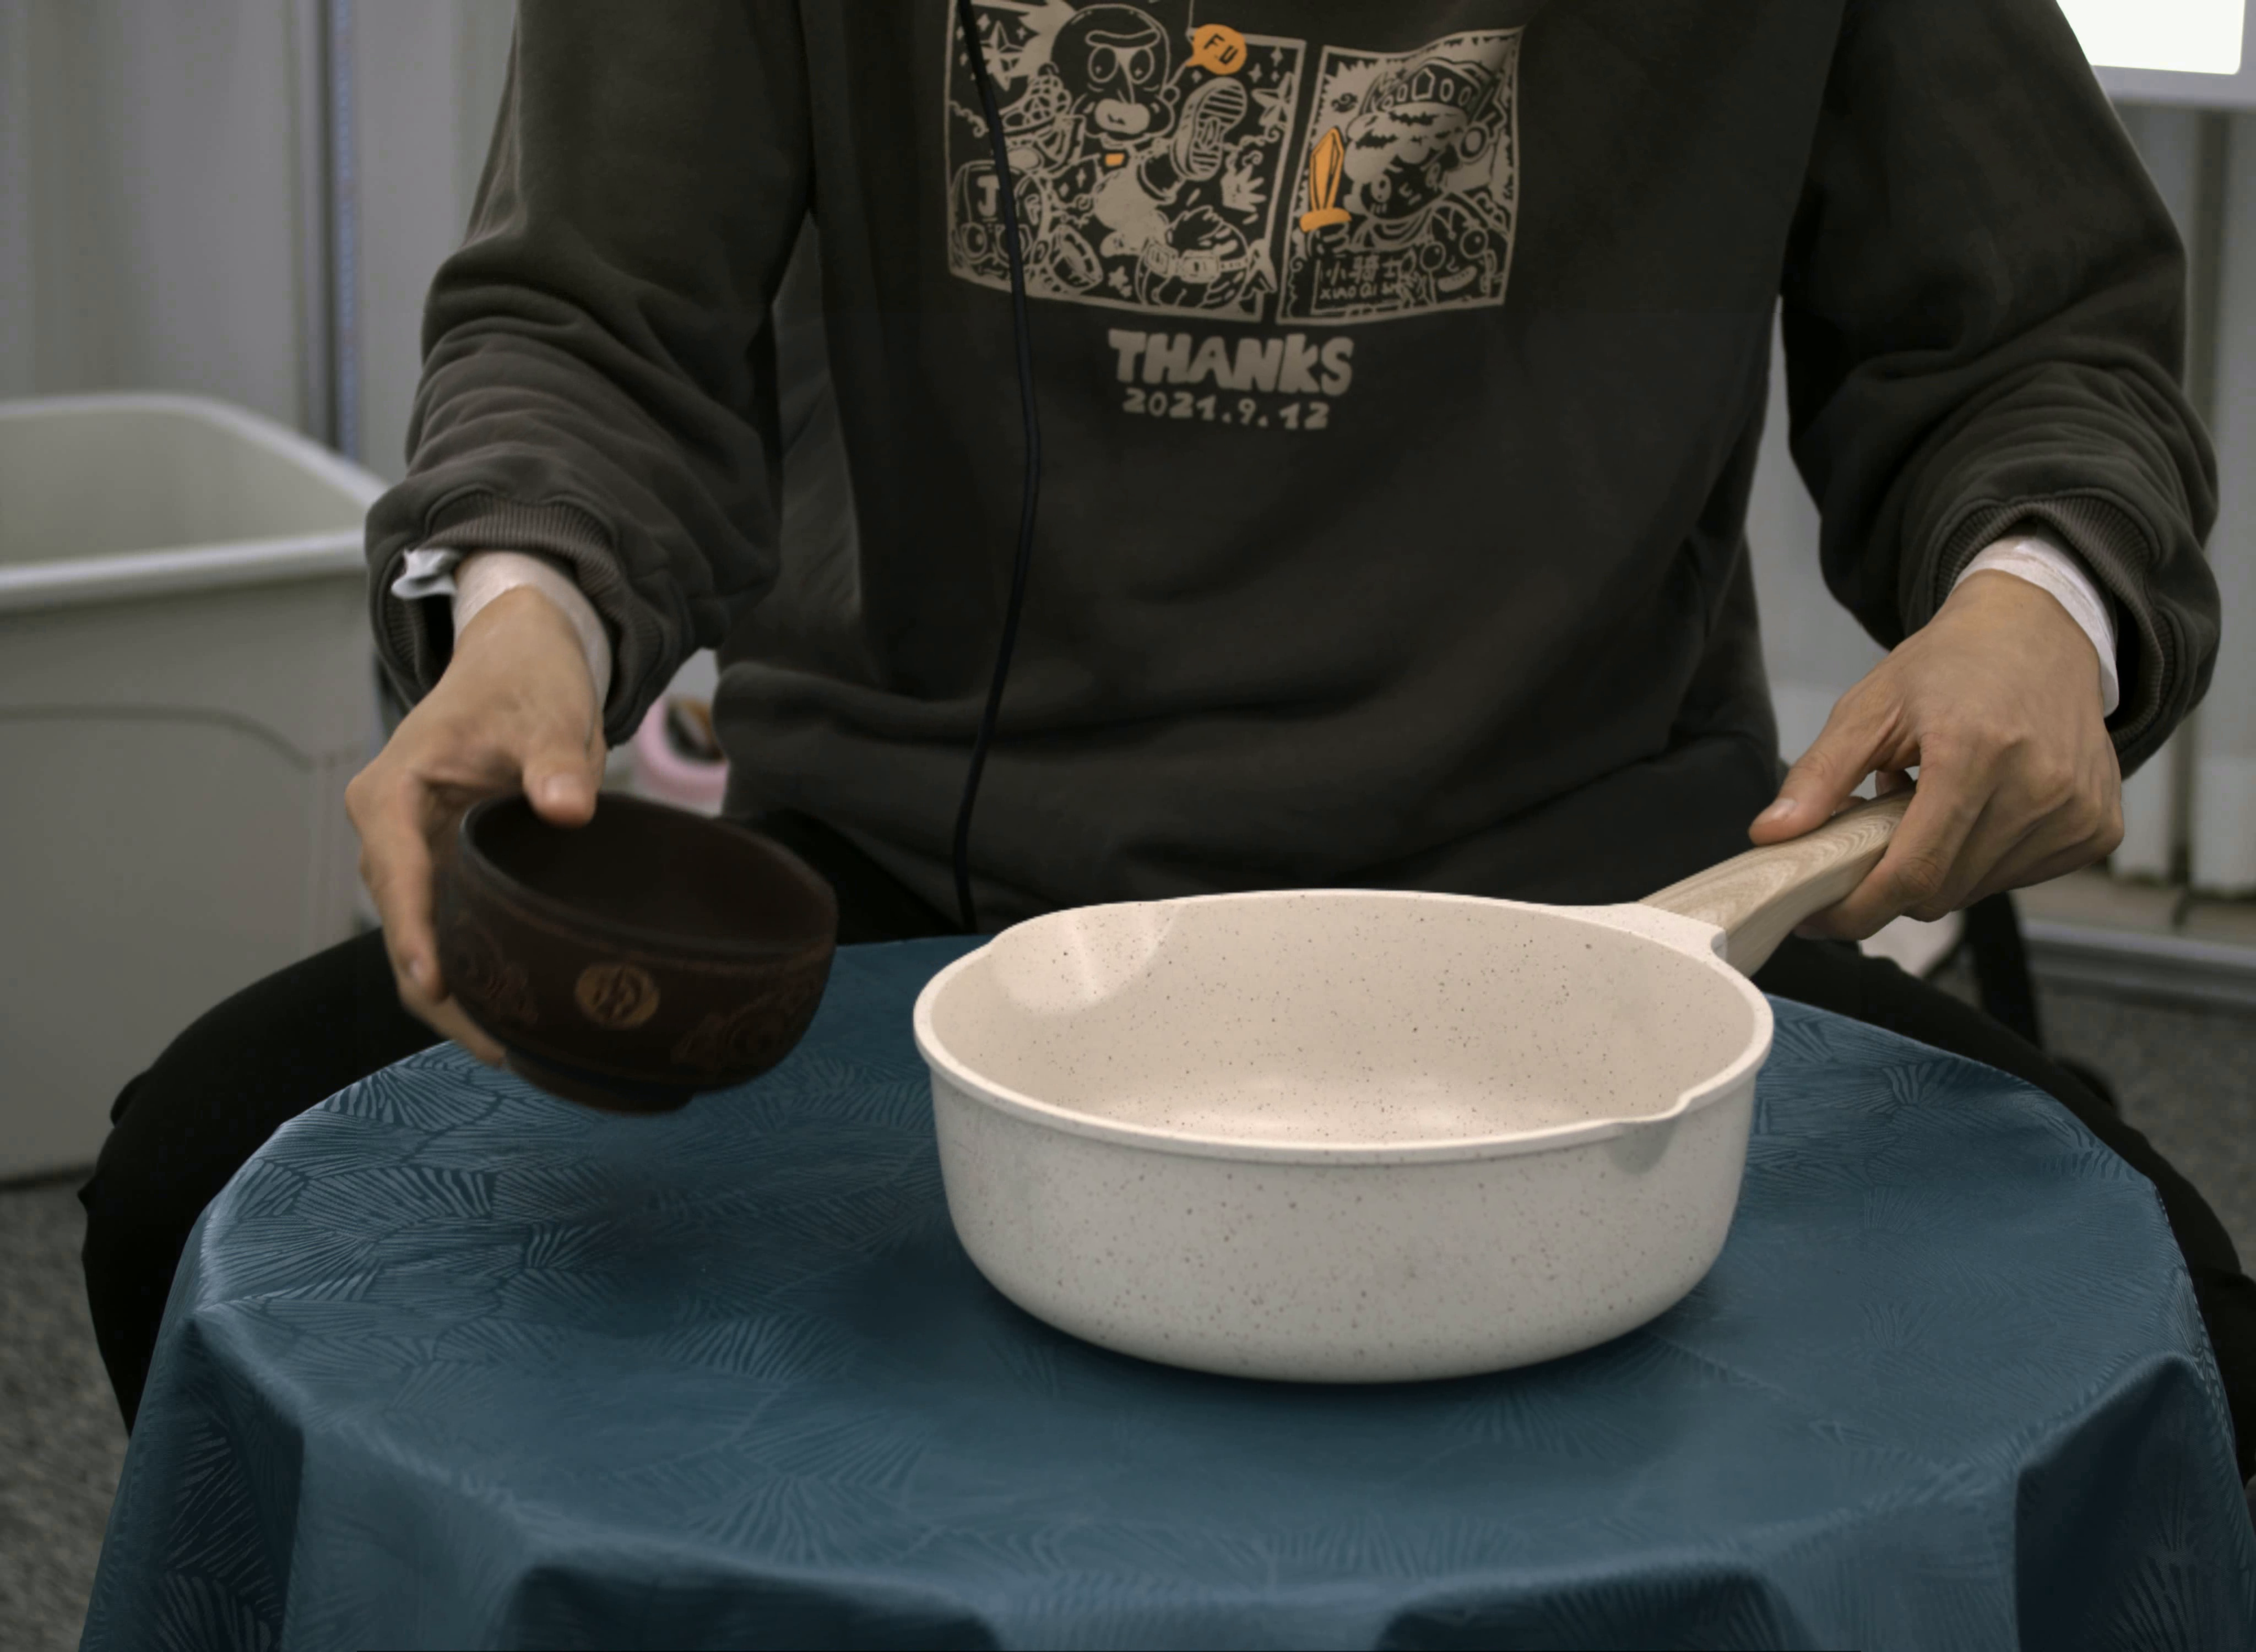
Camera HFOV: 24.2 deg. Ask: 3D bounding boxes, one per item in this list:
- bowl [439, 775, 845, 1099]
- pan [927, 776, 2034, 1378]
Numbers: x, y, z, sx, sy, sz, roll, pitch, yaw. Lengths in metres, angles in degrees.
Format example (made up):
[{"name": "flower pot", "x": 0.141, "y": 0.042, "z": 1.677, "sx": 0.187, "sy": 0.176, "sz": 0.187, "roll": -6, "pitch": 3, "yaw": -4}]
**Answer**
[{"name": "bowl", "x": -0.147, "y": 0.038, "z": 1.555, "sx": 0.118, "sy": 0.070, "sz": 0.117, "roll": 15, "pitch": 17, "yaw": -4}, {"name": "pan", "x": 0.135, "y": 0.070, "z": 1.606, "sx": 0.437, "sy": 0.103, "sz": 0.260, "roll": -13, "pitch": 18, "yaw": -41}]
